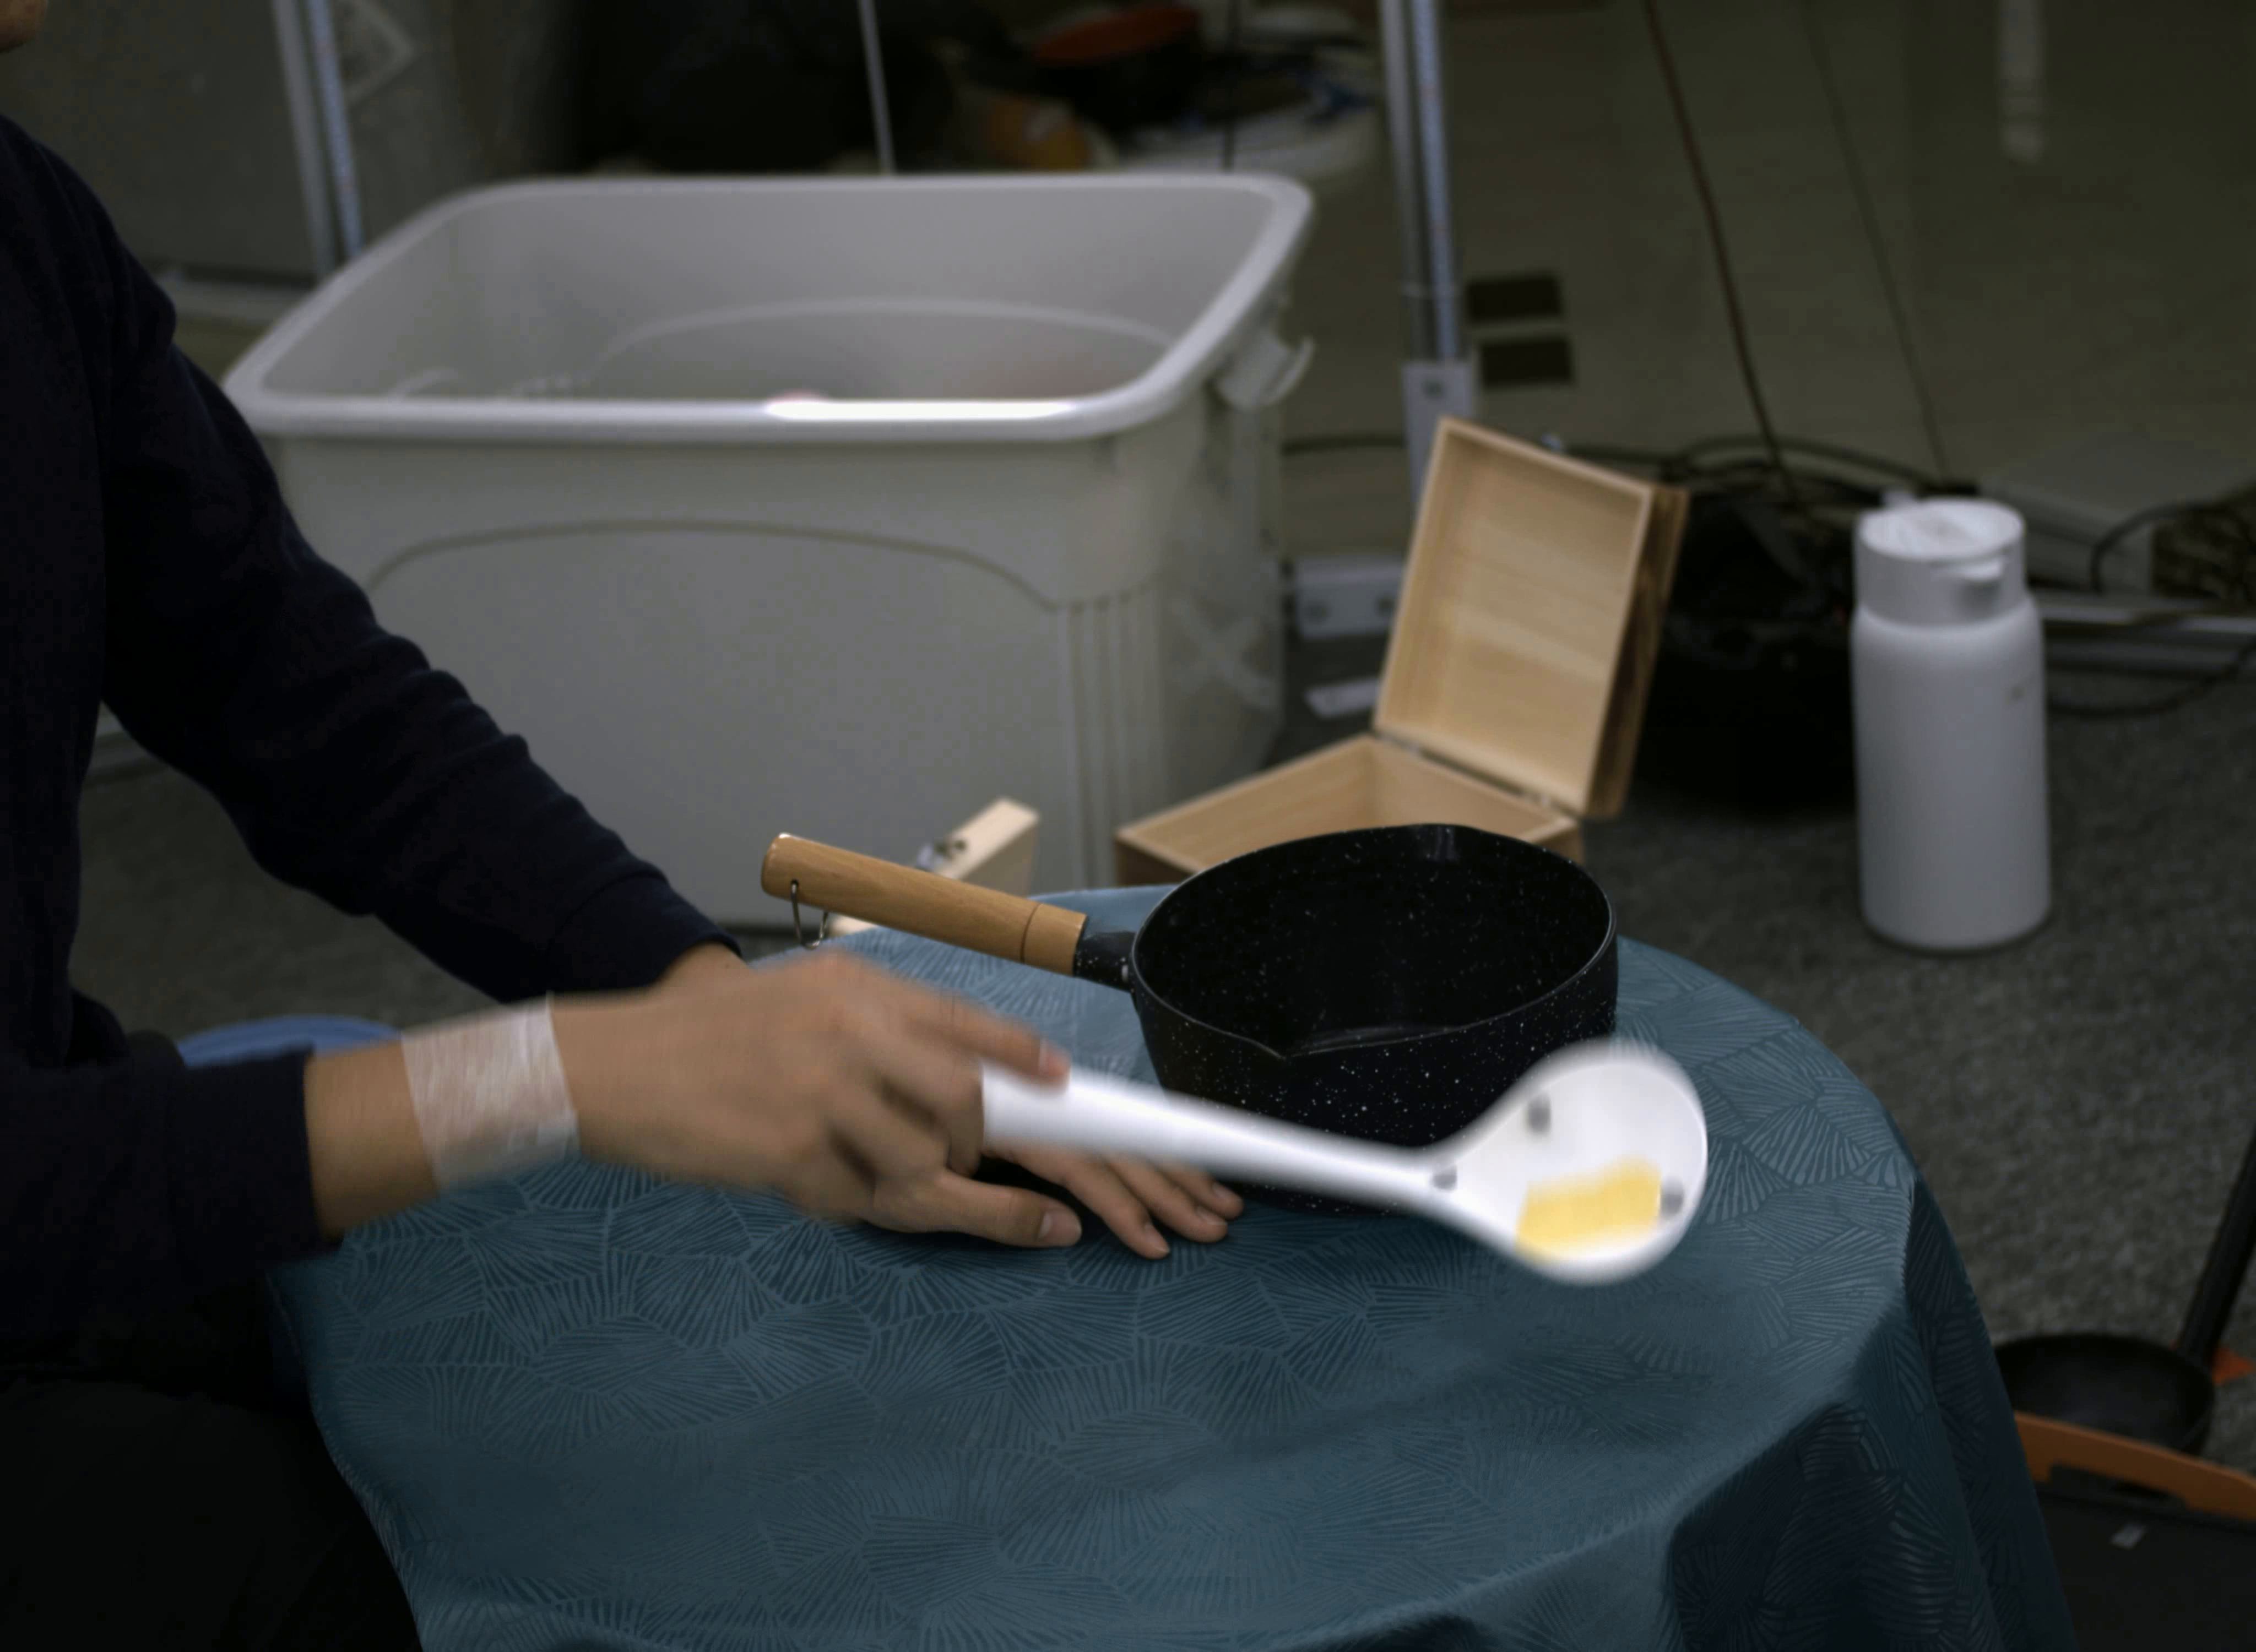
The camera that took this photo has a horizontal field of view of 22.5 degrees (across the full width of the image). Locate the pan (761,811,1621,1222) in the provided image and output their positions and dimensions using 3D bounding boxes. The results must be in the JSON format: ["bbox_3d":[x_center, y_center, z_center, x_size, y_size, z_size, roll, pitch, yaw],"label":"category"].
[{"bbox_3d":[0.021,0.063,2.175,0.342,0.110,0.204,4,28,18],"label":"pan"}]

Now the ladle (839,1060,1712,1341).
[{"bbox_3d":[0.051,0.116,1.934,0.293,0.071,0.089,12,62,-14],"label":"ladle"}]
